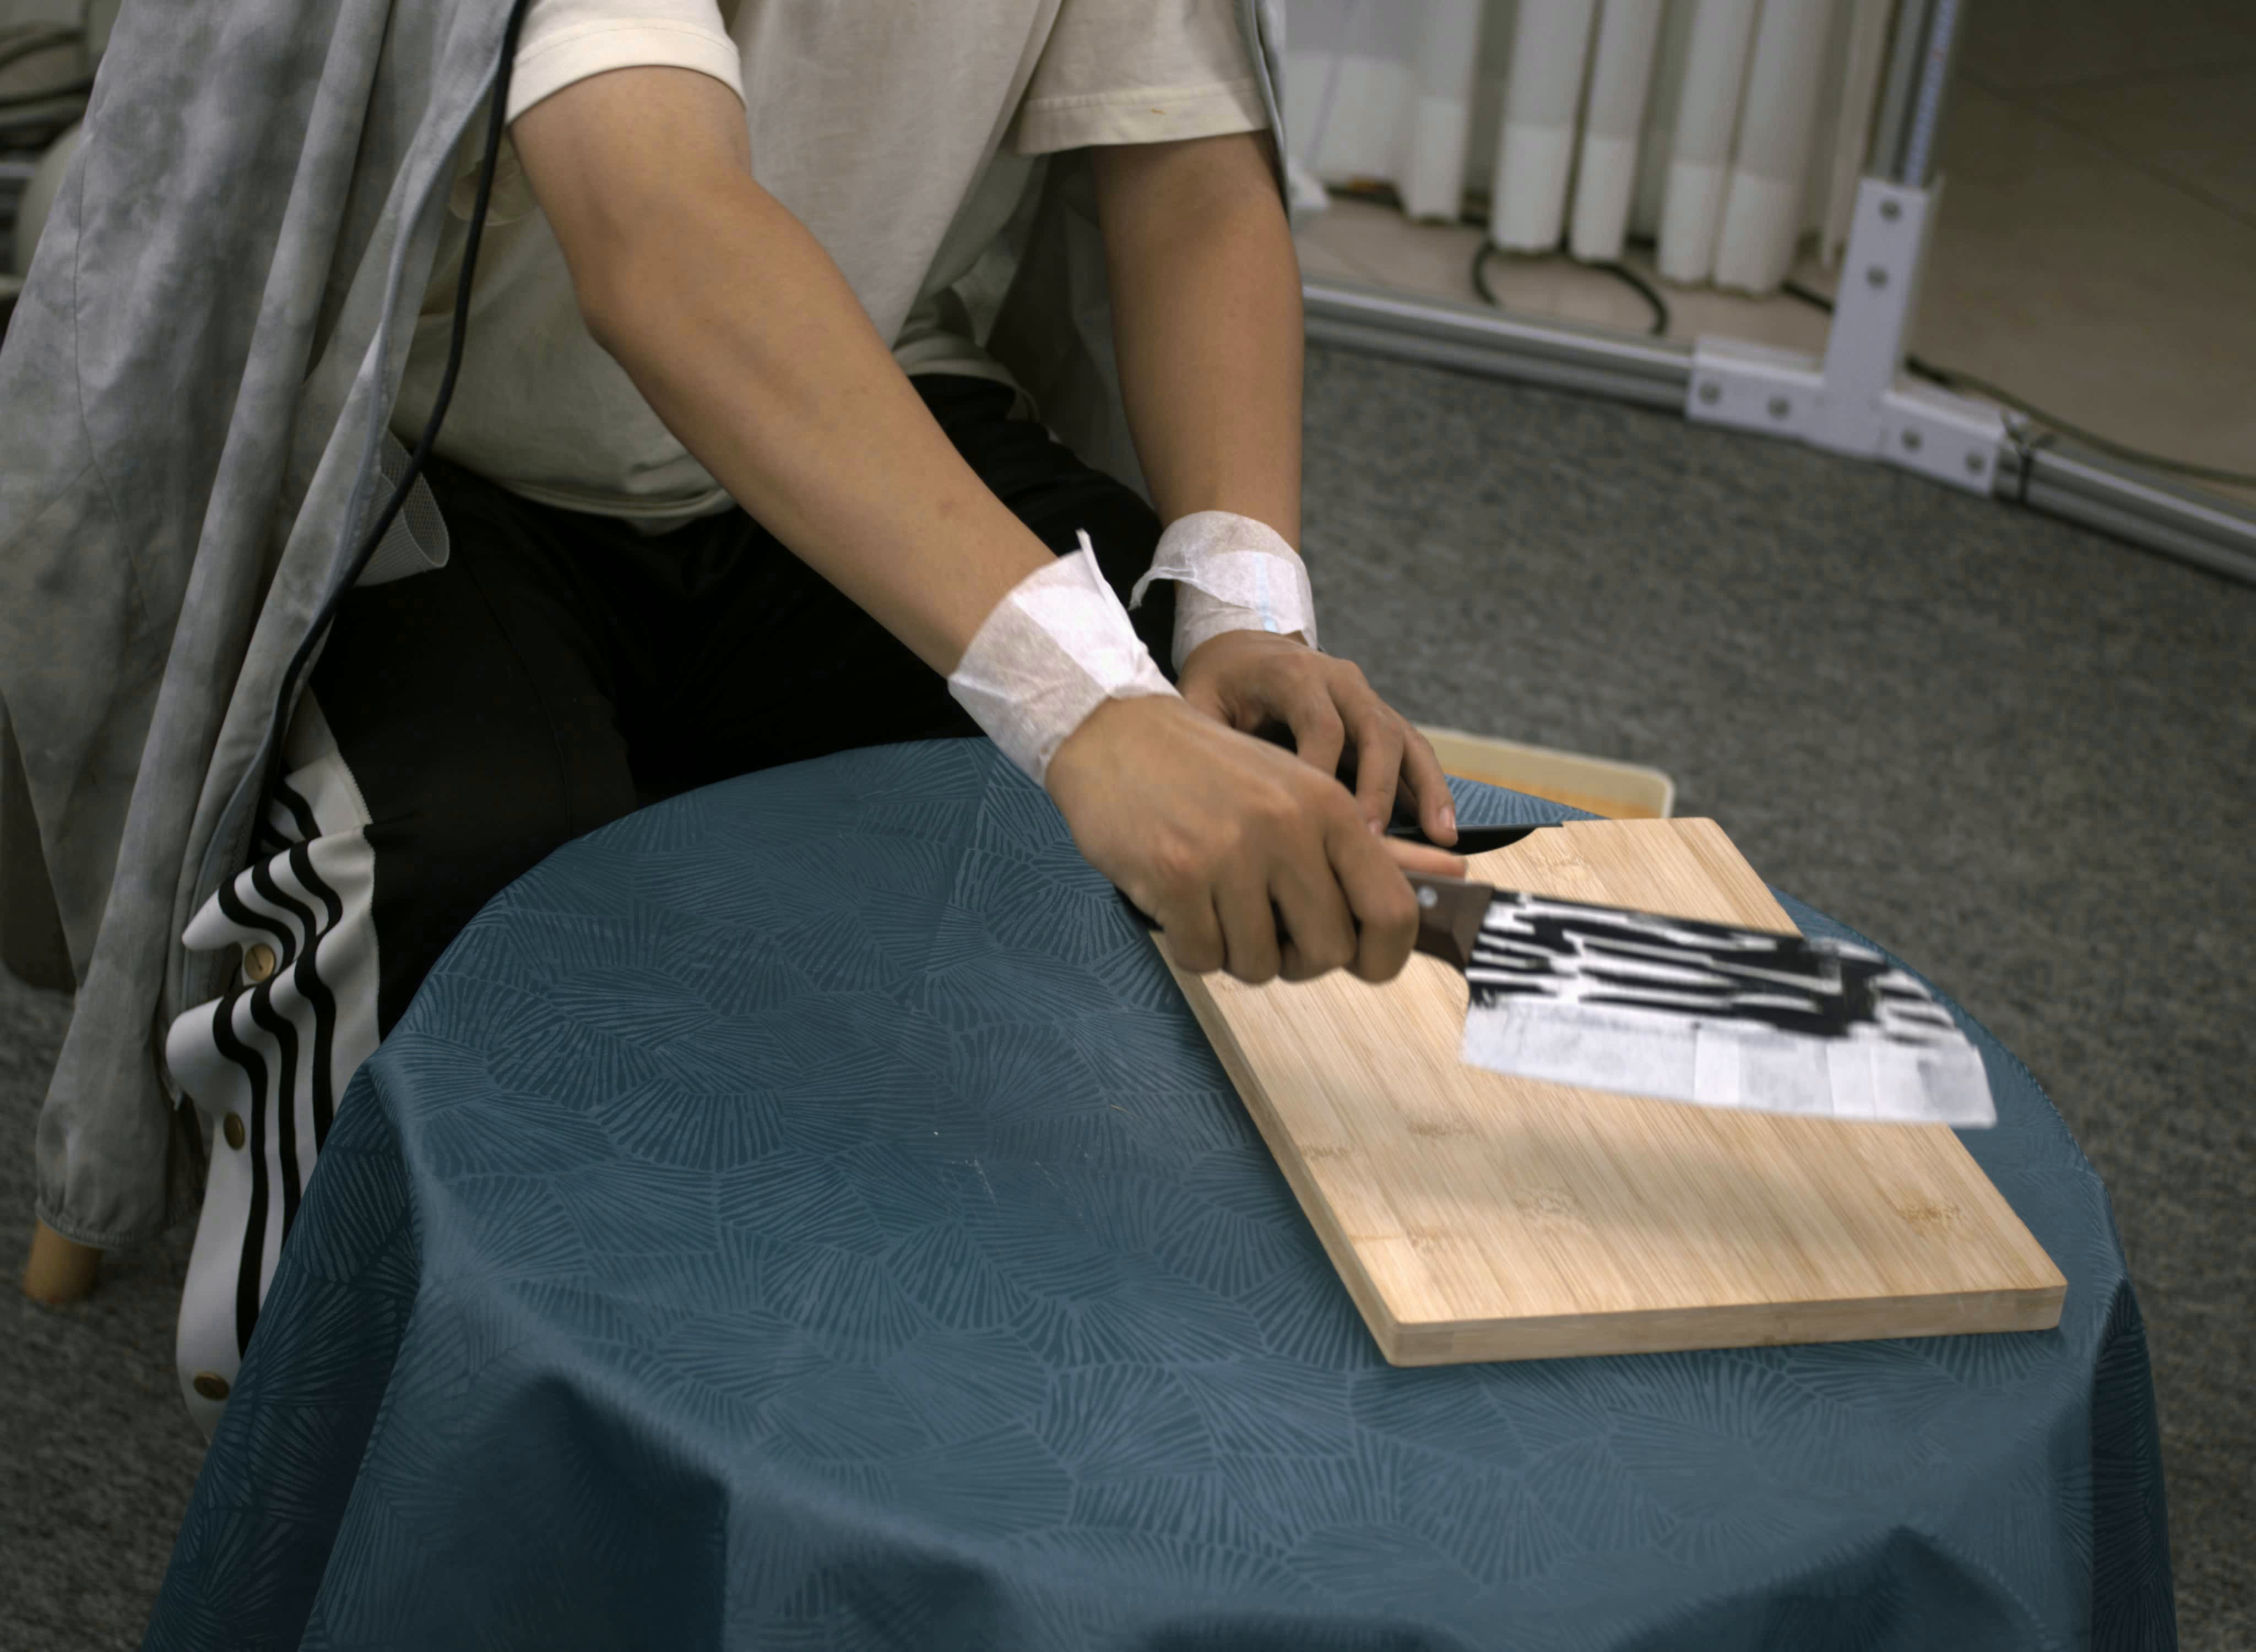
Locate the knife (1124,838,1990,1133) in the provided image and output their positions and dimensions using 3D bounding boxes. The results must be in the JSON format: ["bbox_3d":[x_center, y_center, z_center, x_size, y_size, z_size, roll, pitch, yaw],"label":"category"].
[{"bbox_3d":[0.141,0.055,1.776,0.299,0.024,0.068,10,64,5],"label":"knife"}]

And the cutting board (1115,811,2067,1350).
[{"bbox_3d":[0.154,0.085,1.899,0.249,0.023,0.351,-2,28,-17],"label":"cutting board"}]
